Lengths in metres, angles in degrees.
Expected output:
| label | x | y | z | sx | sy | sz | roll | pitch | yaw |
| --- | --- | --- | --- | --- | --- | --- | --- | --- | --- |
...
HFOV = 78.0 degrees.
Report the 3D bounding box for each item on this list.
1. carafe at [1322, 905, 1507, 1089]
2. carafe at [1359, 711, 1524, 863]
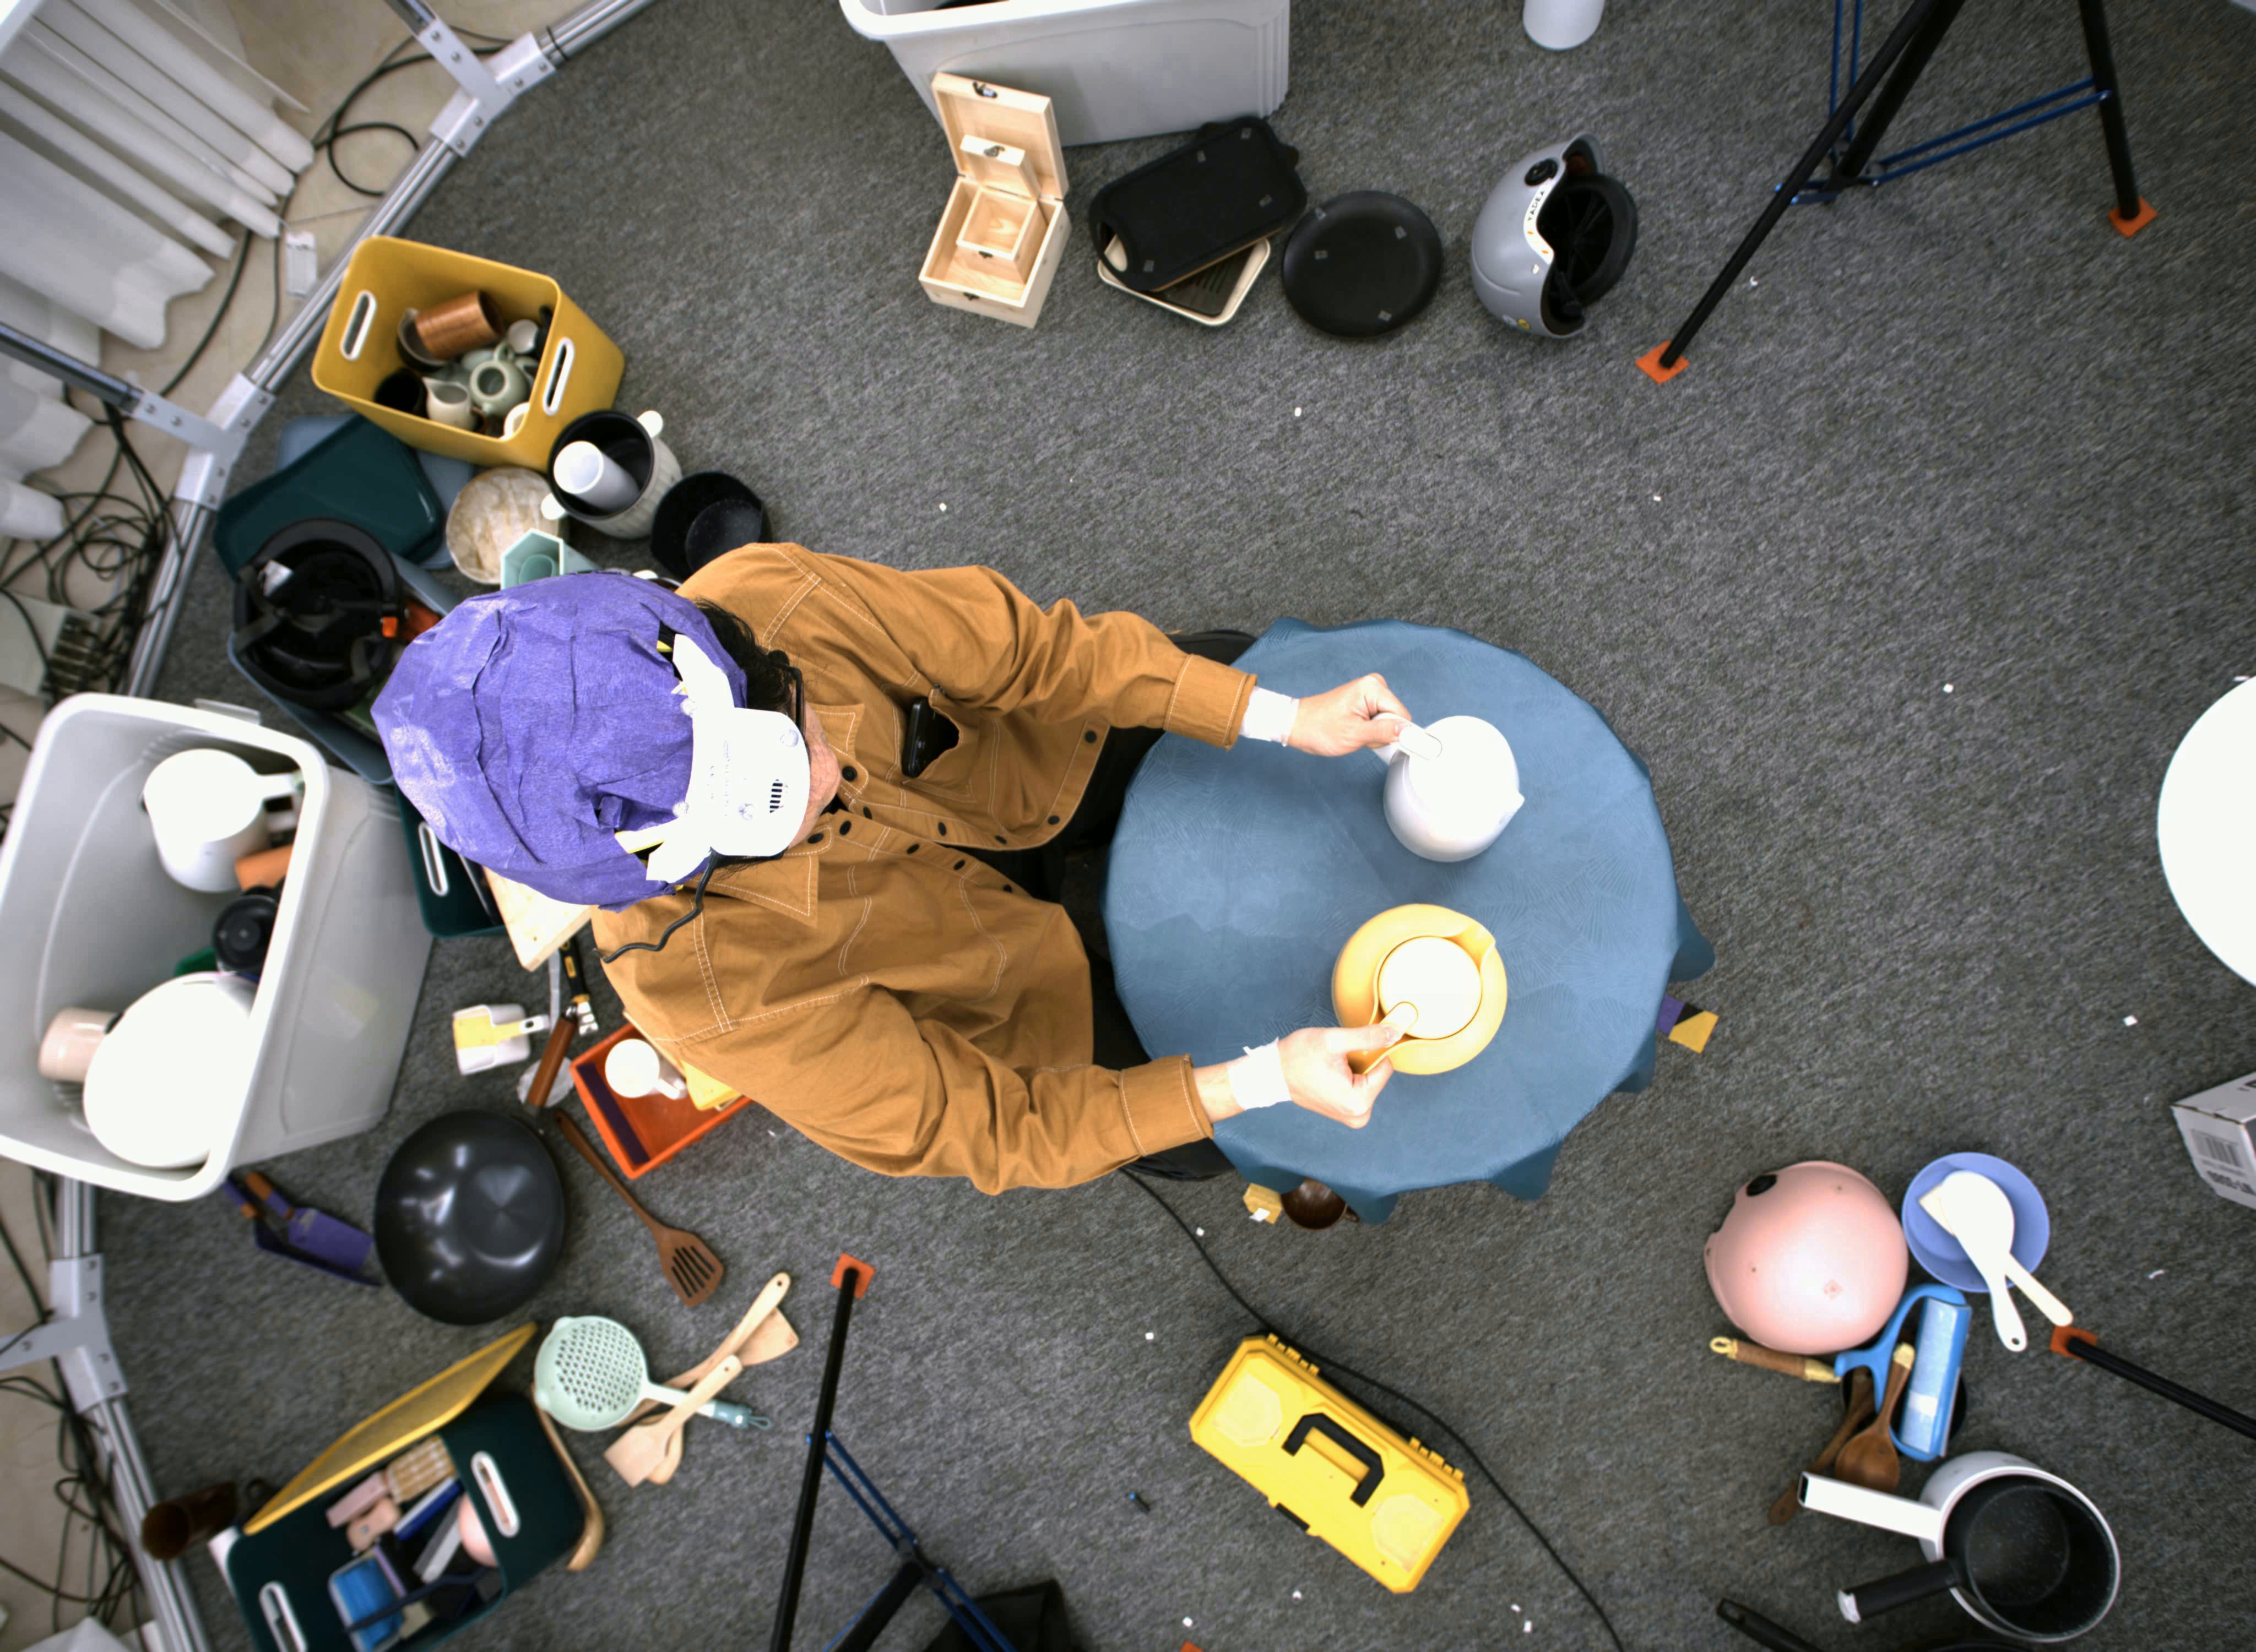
| label | x | y | z | sx | sy | sz | roll | pitch | yaw |
| --- | --- | --- | --- | --- | --- | --- | --- | --- | --- |
| carafe | 0.263 | 0.167 | 1.322 | 0.202 | 0.261 | 0.162 | -44 | 79 | 0 |
| carafe | 0.299 | -0.051 | 1.336 | 0.167 | 0.249 | 0.133 | 34 | 92 | 12 |
